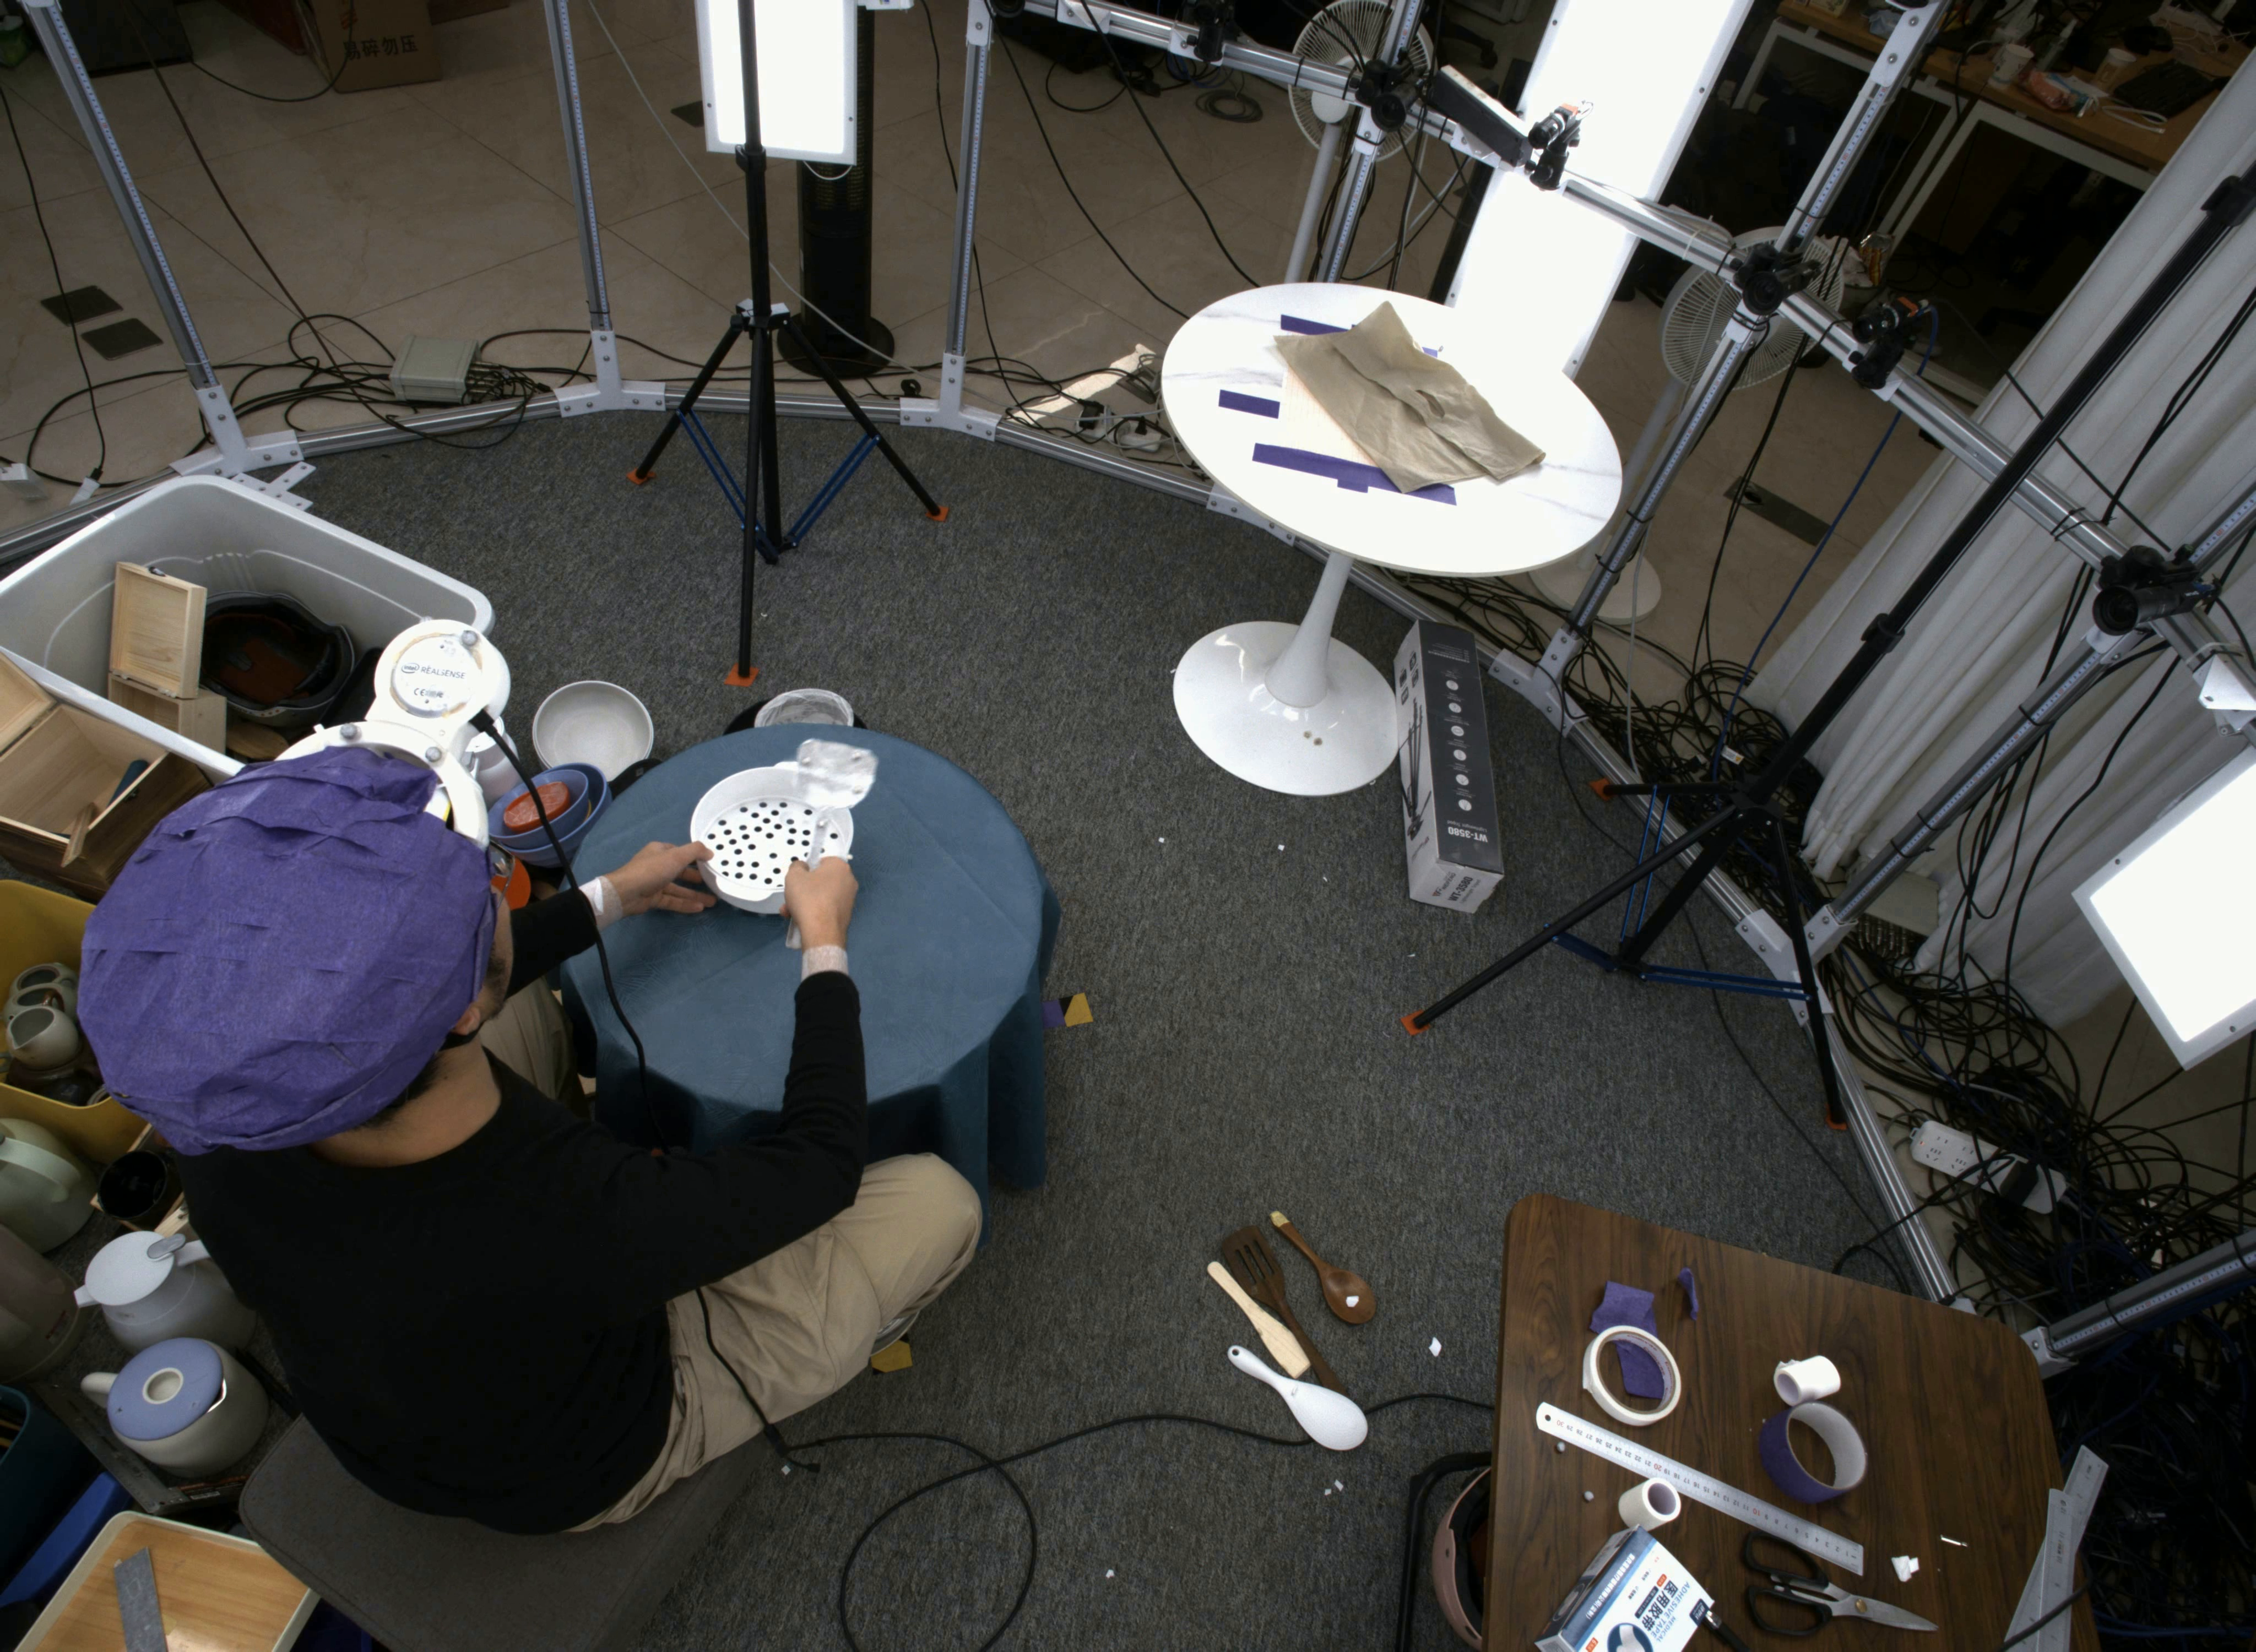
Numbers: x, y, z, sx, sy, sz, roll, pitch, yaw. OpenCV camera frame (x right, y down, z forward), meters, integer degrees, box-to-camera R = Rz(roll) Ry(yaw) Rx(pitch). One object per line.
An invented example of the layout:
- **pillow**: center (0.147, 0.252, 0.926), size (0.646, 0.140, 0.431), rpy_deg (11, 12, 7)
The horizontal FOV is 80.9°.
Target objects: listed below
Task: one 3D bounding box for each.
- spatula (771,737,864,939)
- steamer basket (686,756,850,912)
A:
- **spatula**: center (-0.369, 0.005, 1.489), size (0.099, 0.045, 0.355), rpy_deg (14, 30, -14)
- **steamer basket**: center (-0.457, 0.014, 1.651), size (0.200, 0.070, 0.227), rpy_deg (16, 51, -3)
